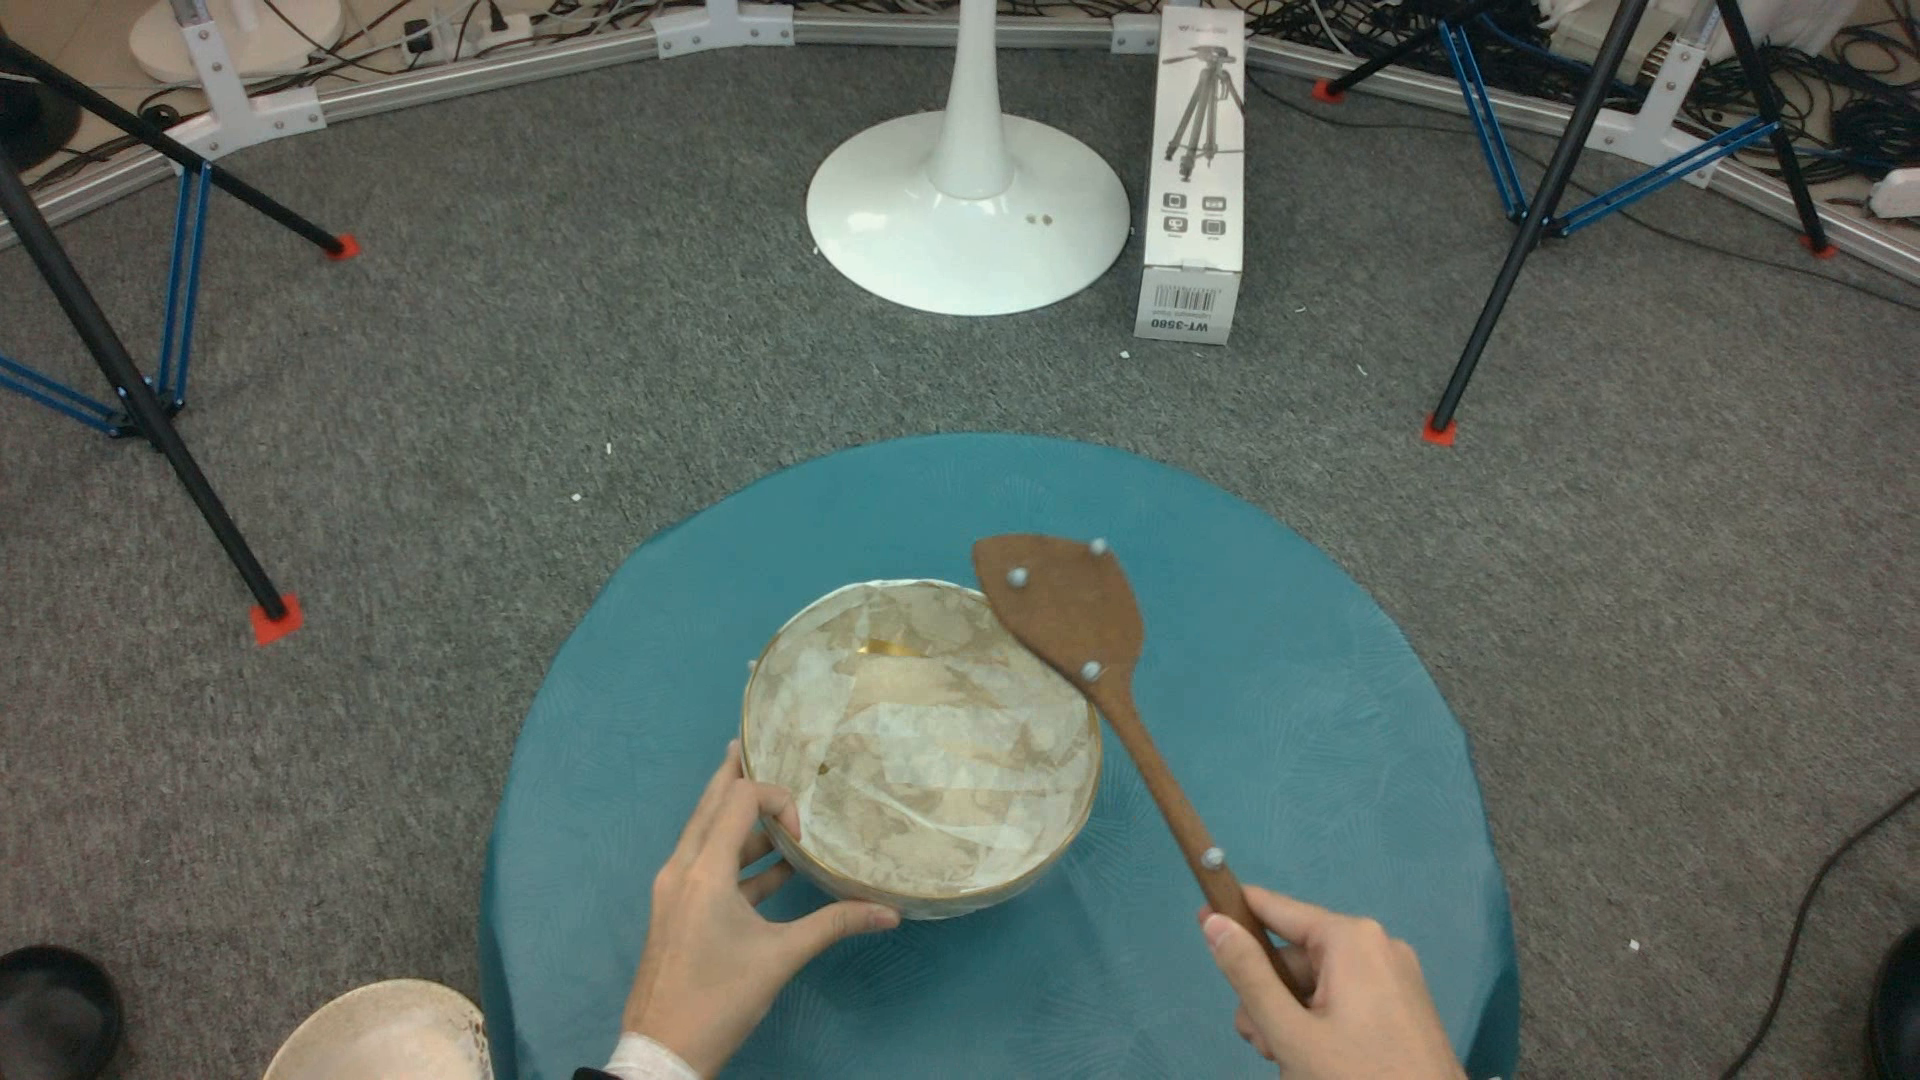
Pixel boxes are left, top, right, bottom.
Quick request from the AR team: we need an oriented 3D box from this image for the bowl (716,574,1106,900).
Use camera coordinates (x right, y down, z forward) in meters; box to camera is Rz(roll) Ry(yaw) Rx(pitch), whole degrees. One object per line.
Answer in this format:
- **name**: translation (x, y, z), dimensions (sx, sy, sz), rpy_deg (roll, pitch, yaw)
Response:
- **bowl**: translation (-0.032, 0.123, 0.767), dimensions (0.215, 0.094, 0.215), rpy_deg (9, 41, -8)

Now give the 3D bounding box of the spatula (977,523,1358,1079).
- **spatula**: translation (0.104, 0.127, 0.625), dimensions (0.096, 0.015, 0.387), rpy_deg (3, 42, -30)
